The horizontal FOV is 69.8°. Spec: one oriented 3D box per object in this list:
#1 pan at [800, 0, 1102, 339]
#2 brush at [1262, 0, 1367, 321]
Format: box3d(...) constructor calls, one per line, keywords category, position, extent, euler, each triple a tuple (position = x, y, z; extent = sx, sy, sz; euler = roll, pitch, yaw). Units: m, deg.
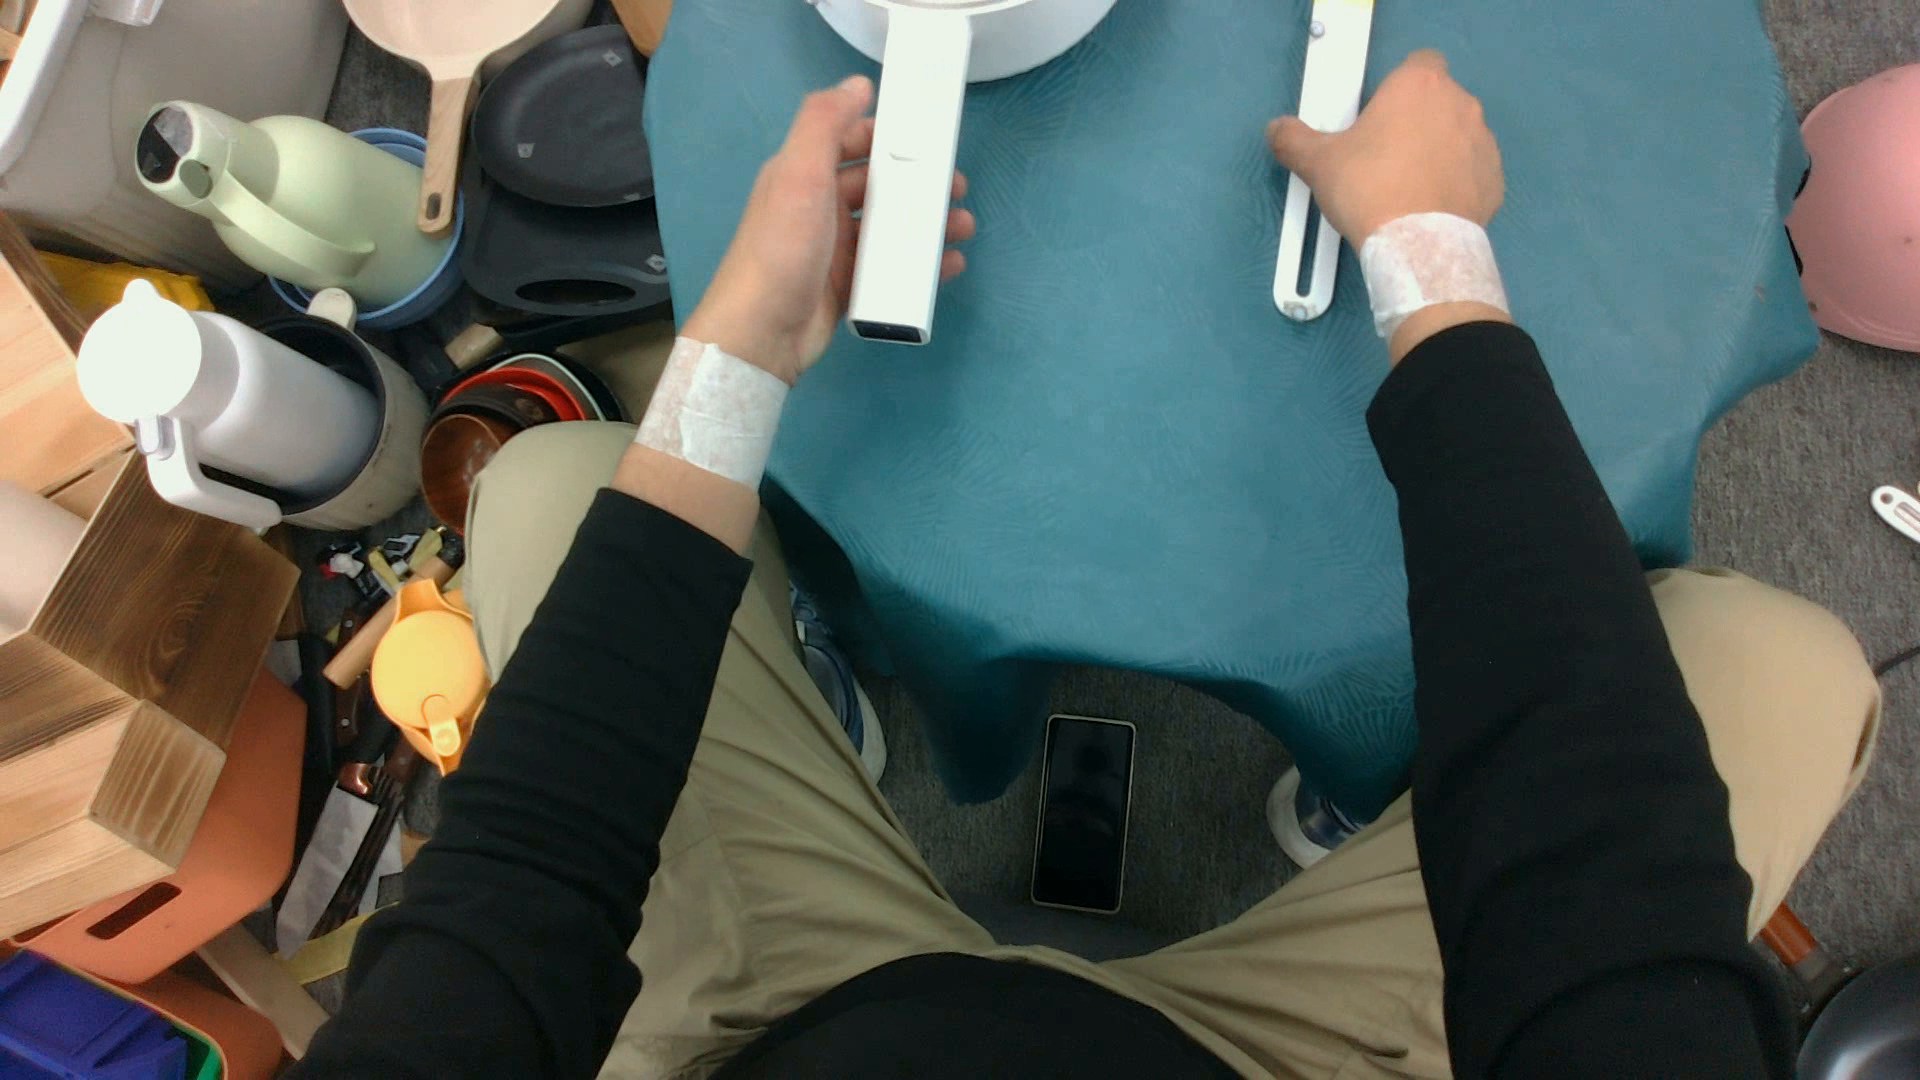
box3d(category="pan", position=(-0.016, -0.269, 0.710), extent=(0.201, 0.102, 0.355), euler=(7, 82, 4))
box3d(category="brush", position=(0.192, -0.248, 0.715), extent=(0.068, 0.056, 0.267), euler=(9, 82, 10))
